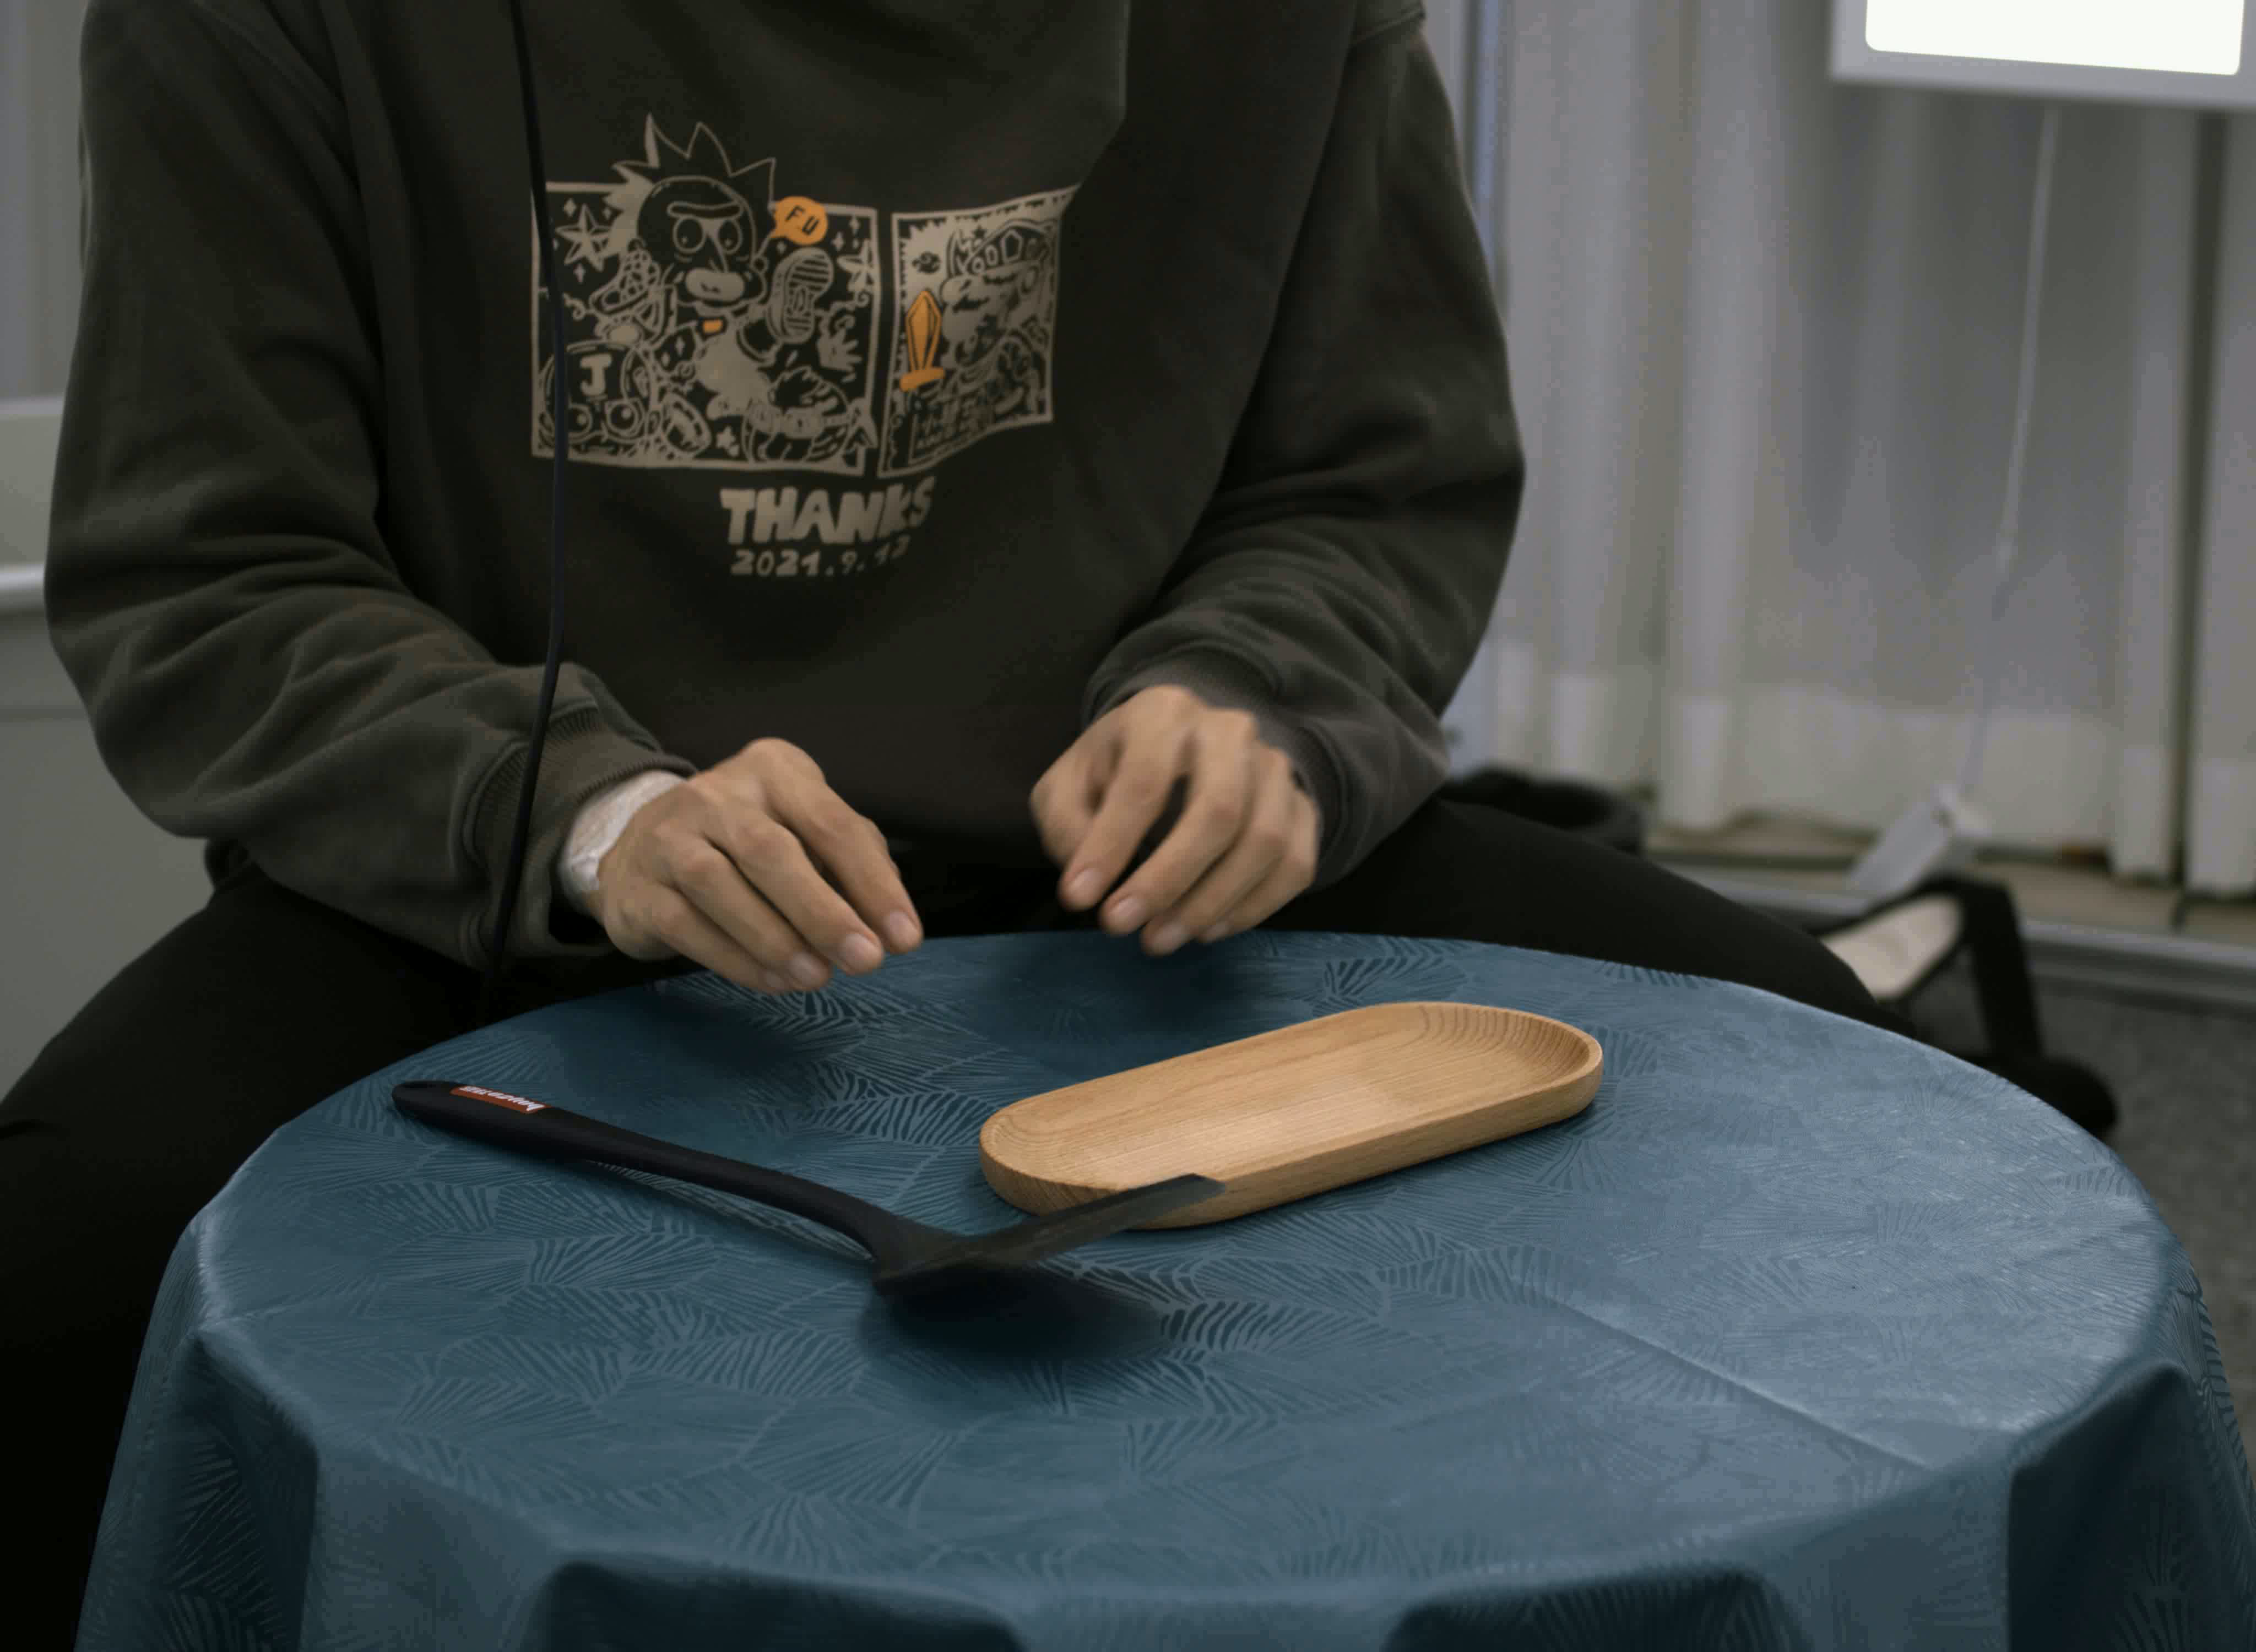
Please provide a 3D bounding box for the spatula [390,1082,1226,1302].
[{"bbox_3d":[-0.117,0.102,1.597,0.322,0.040,0.100,14,19,40],"label":"spatula"}]

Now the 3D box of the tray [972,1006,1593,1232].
[{"bbox_3d":[0.052,0.092,1.676,0.232,0.020,0.100,-14,21,-39],"label":"tray"}]
